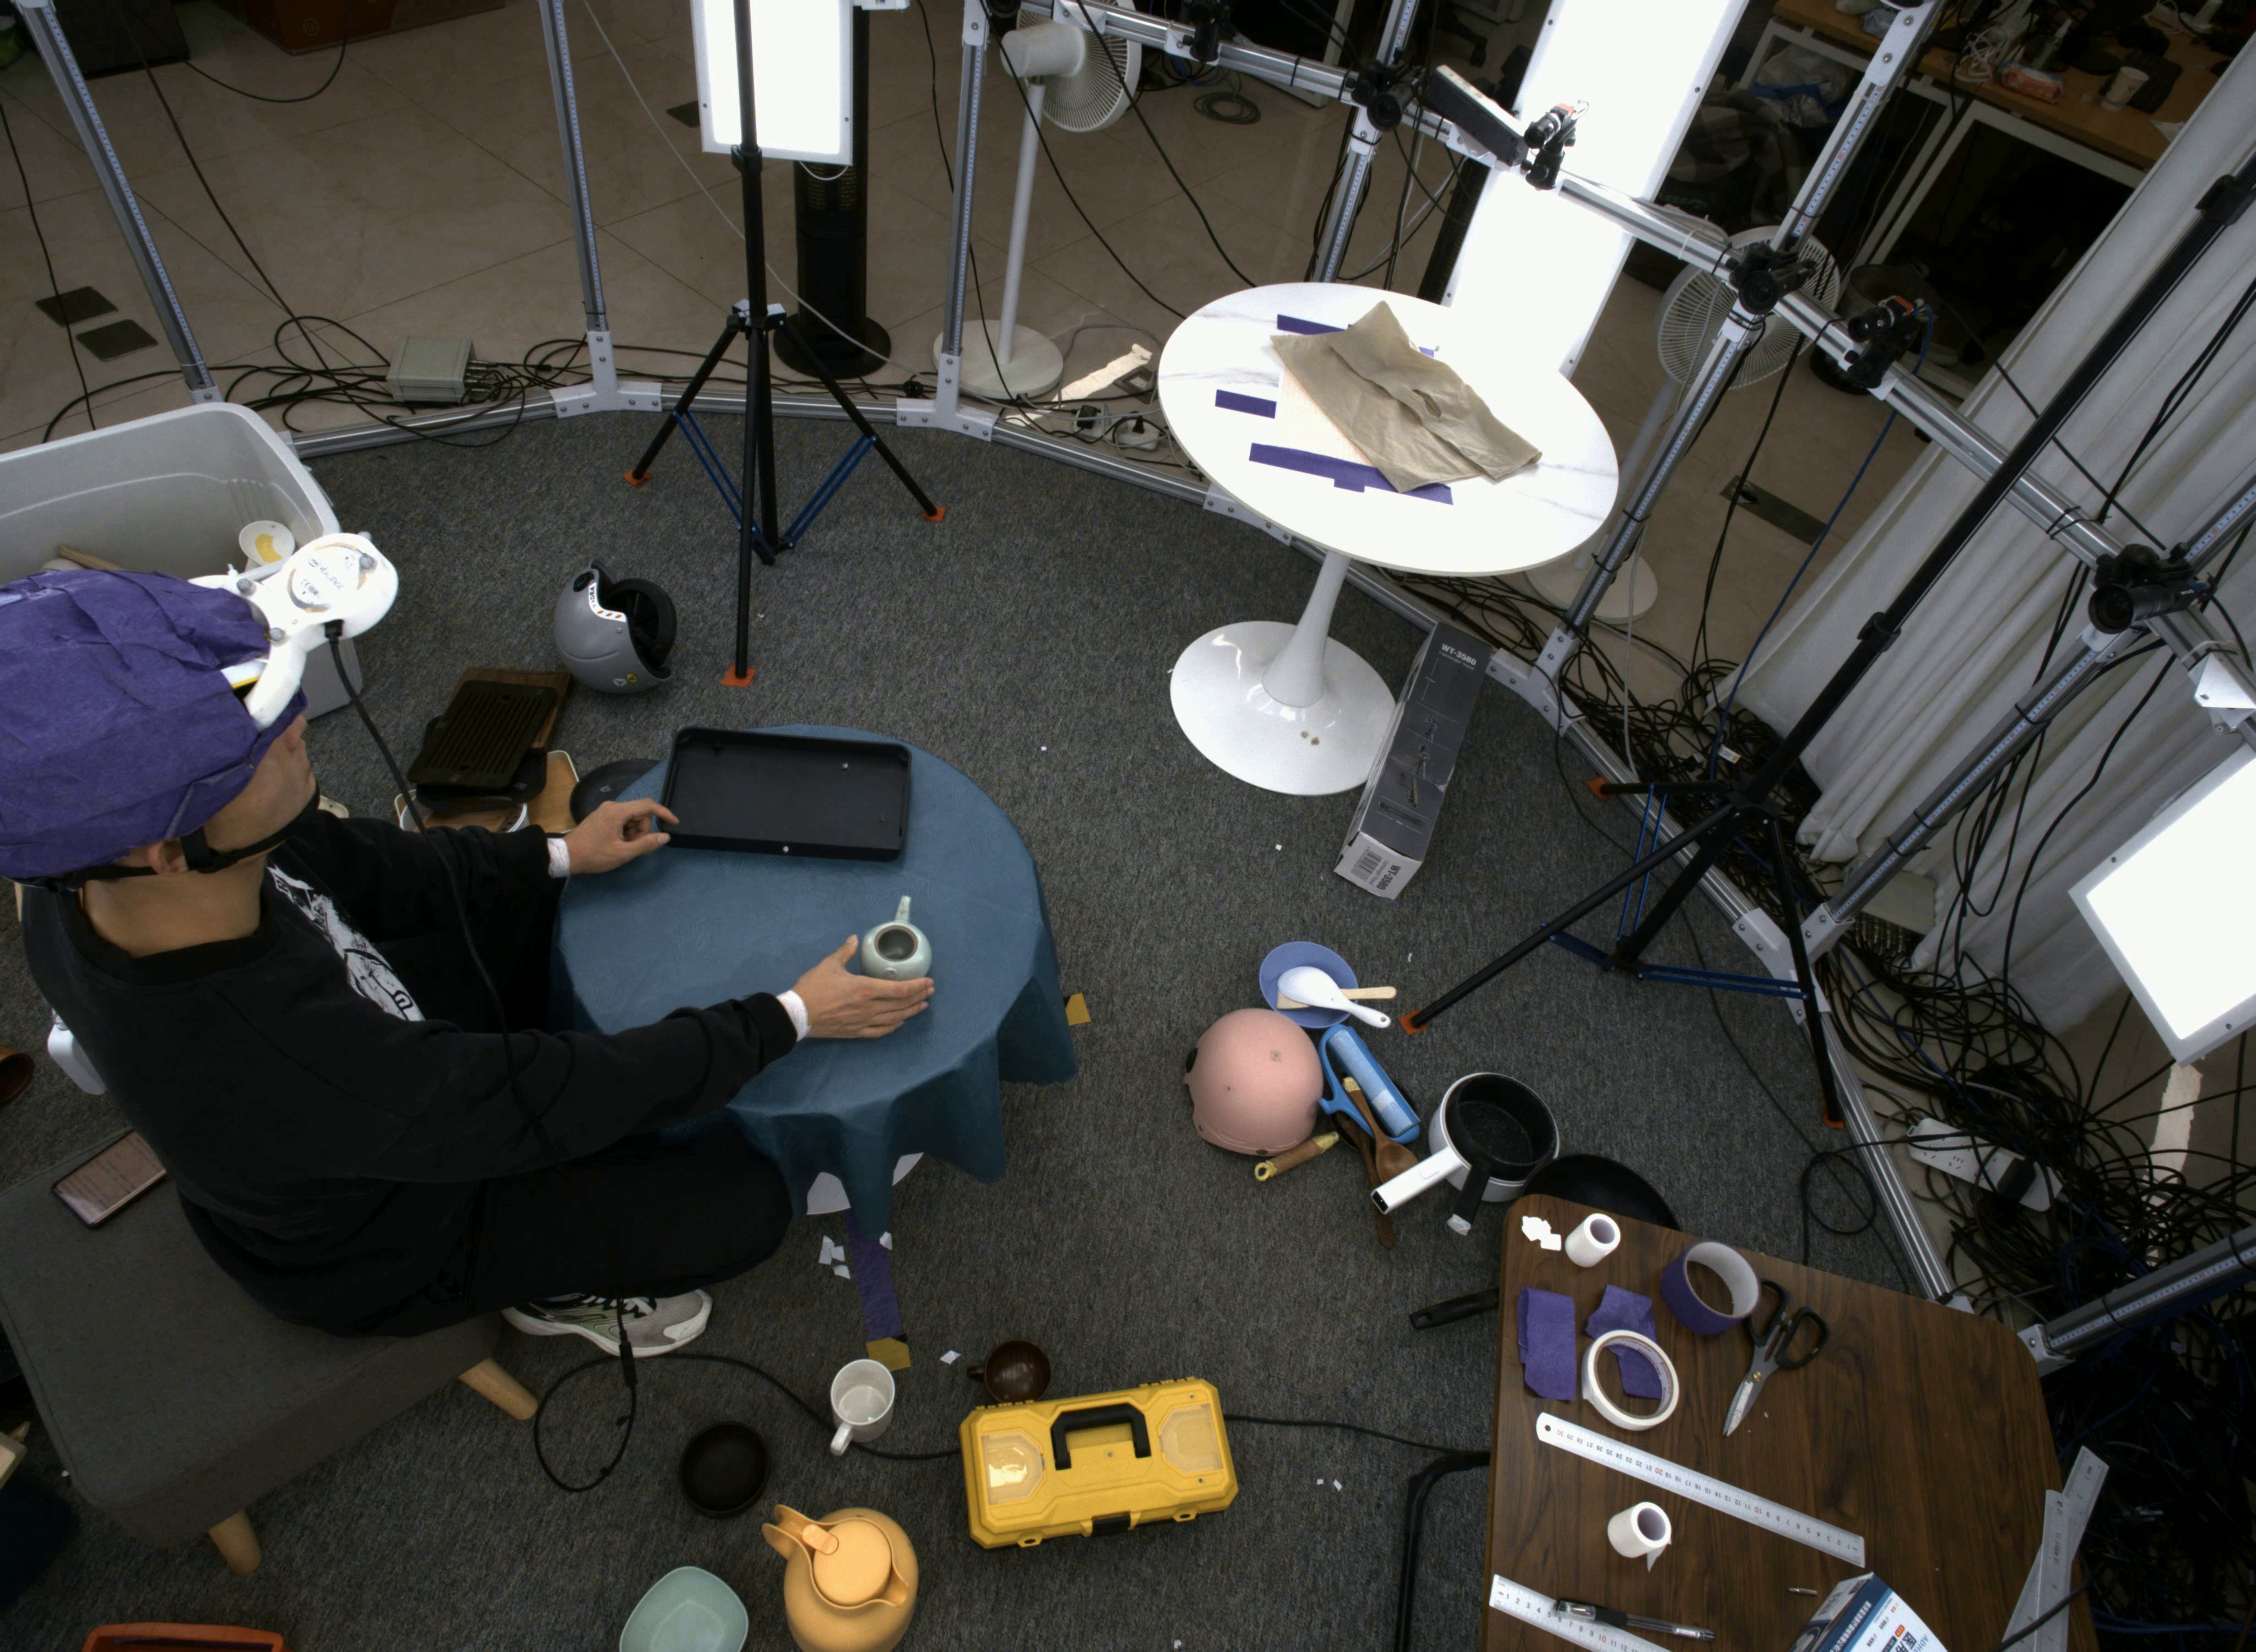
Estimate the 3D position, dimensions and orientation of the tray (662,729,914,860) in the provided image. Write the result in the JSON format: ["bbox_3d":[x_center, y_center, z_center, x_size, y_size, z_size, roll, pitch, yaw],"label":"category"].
[{"bbox_3d":[-0.447,-0.043,1.724,0.318,0.038,0.180,3,53,-12],"label":"tray"}]

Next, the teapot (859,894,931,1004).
[{"bbox_3d":[-0.285,0.157,1.593,0.088,0.076,0.141,11,51,-5],"label":"teapot"}]
